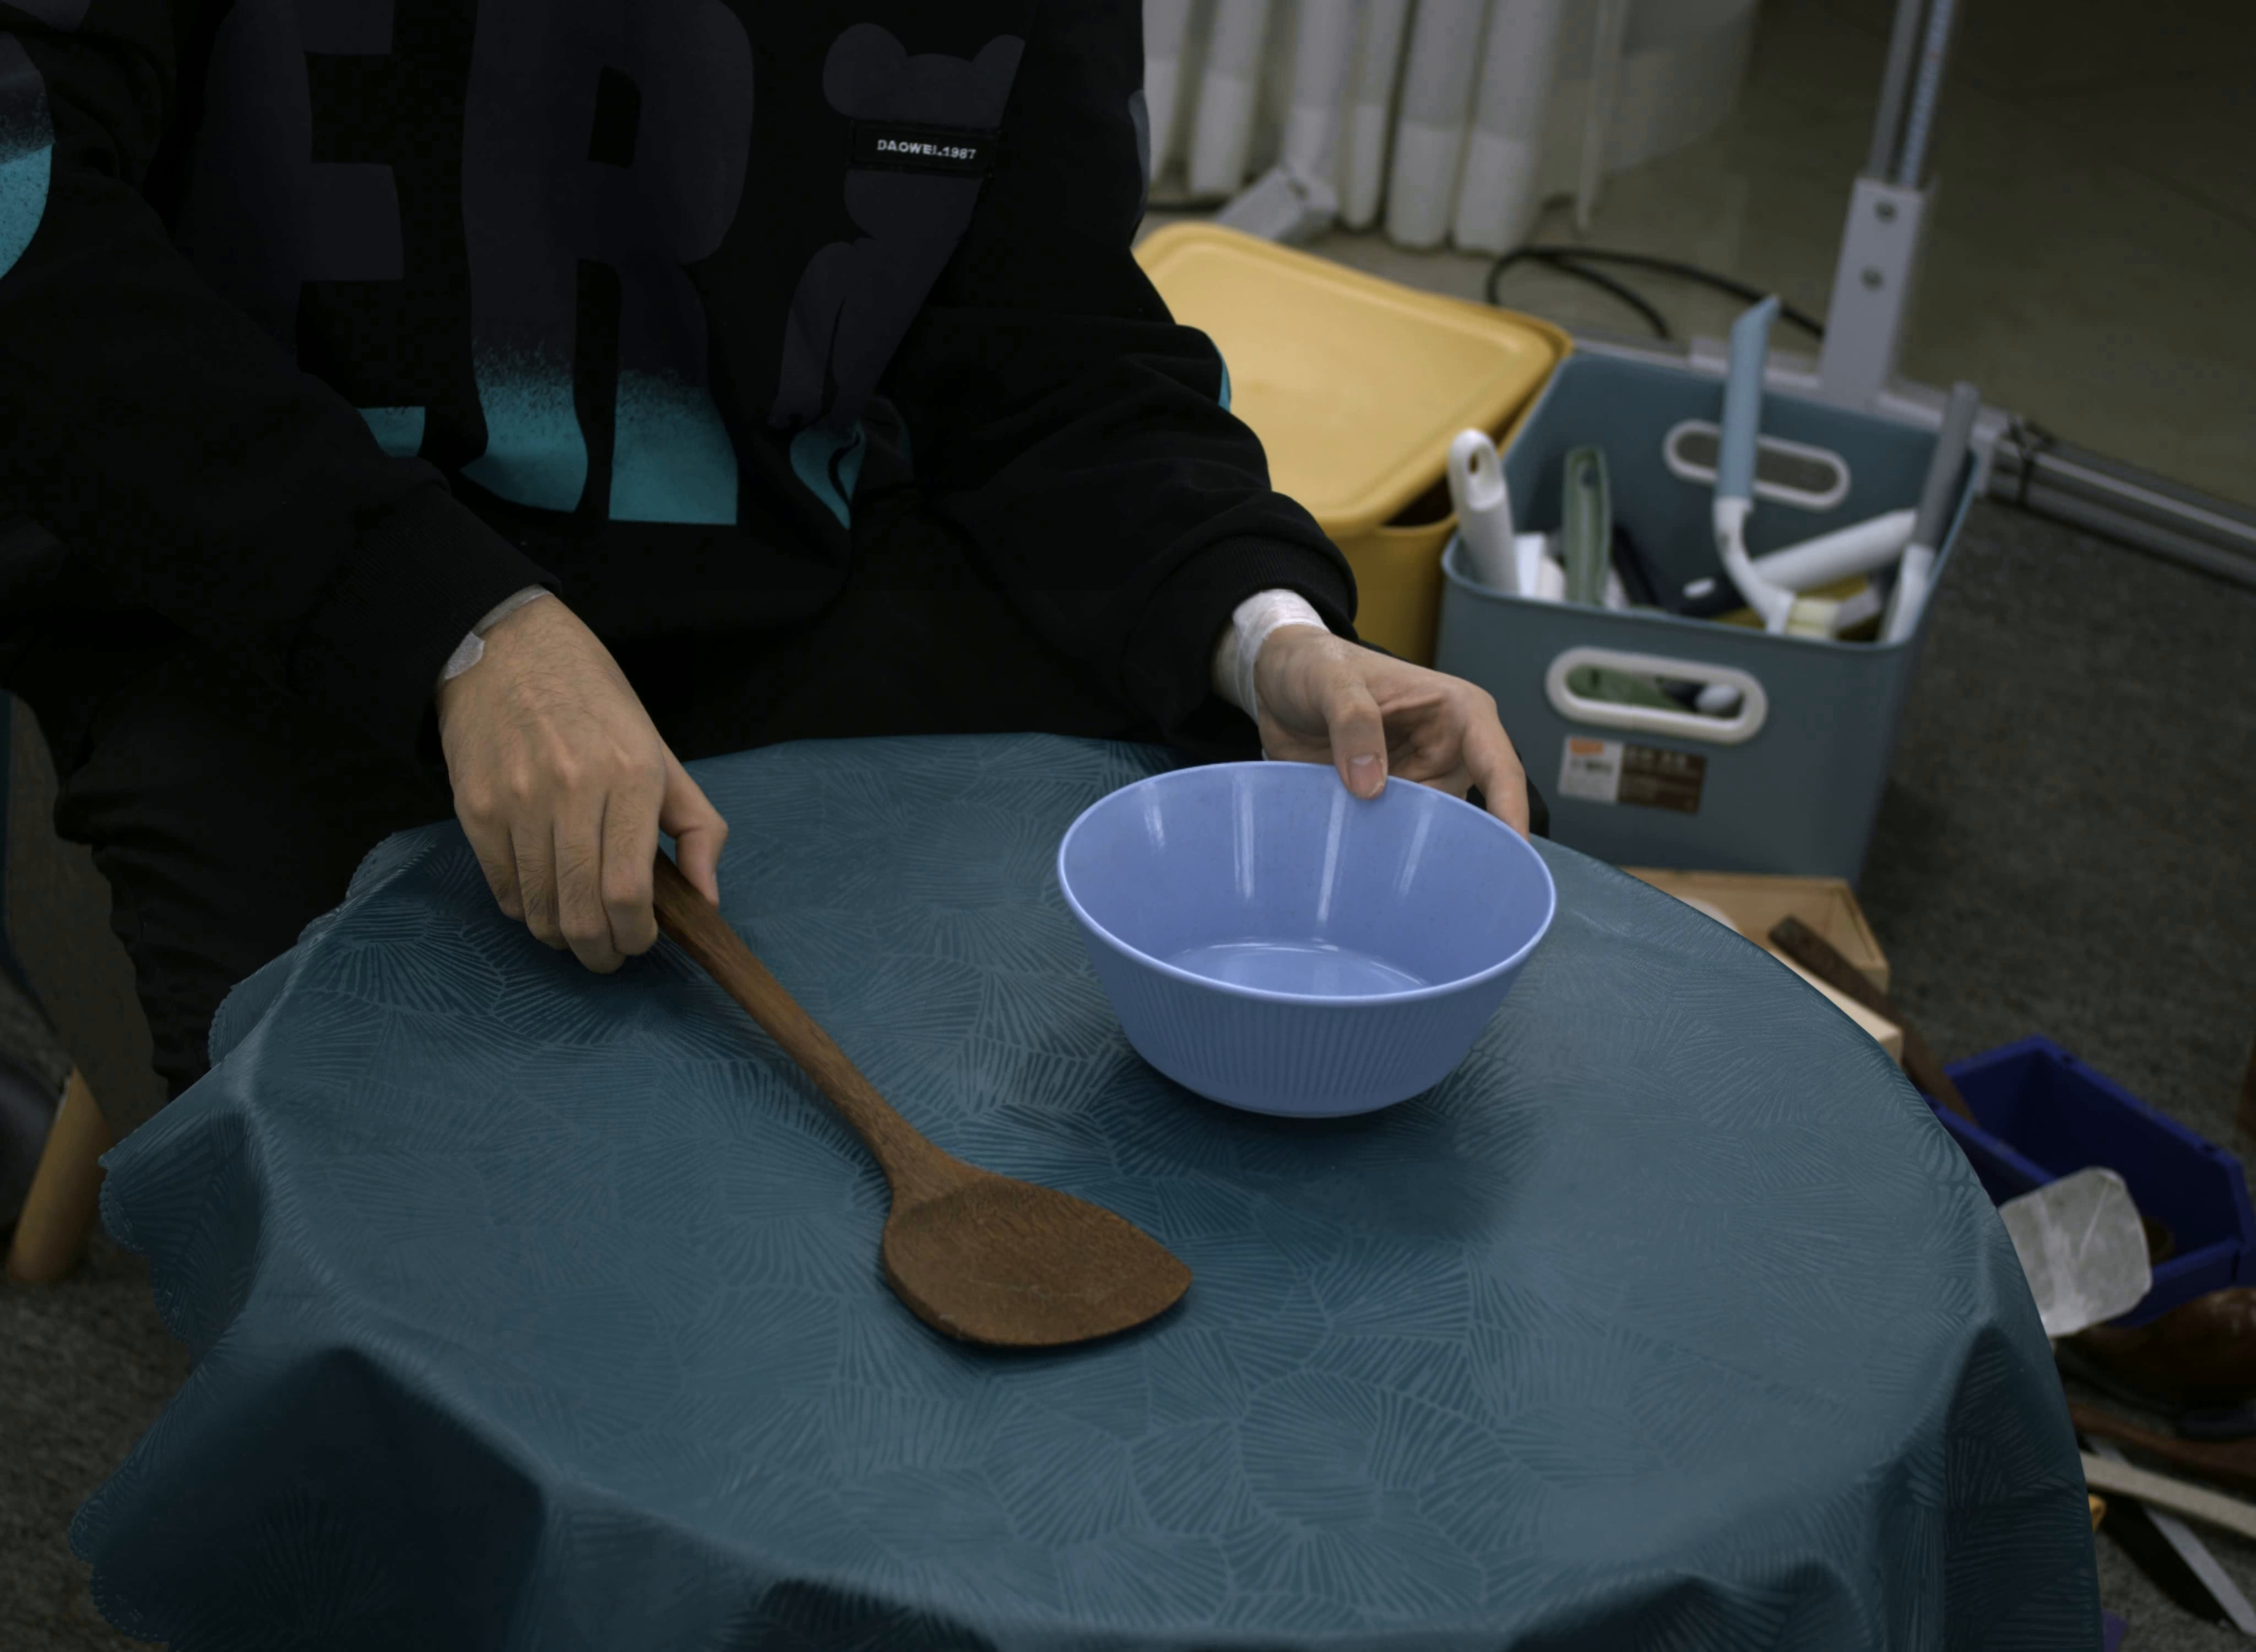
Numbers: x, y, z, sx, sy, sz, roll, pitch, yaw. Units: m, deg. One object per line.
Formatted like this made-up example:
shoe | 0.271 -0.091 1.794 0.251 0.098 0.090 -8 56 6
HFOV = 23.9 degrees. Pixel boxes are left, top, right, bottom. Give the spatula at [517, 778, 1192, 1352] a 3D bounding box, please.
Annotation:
spatula | -0.115 0.074 1.842 0.095 0.016 0.389 -11 35 -33

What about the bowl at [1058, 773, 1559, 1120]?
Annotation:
bowl | 0.061 0.048 1.871 0.175 0.070 0.177 3 26 -2
